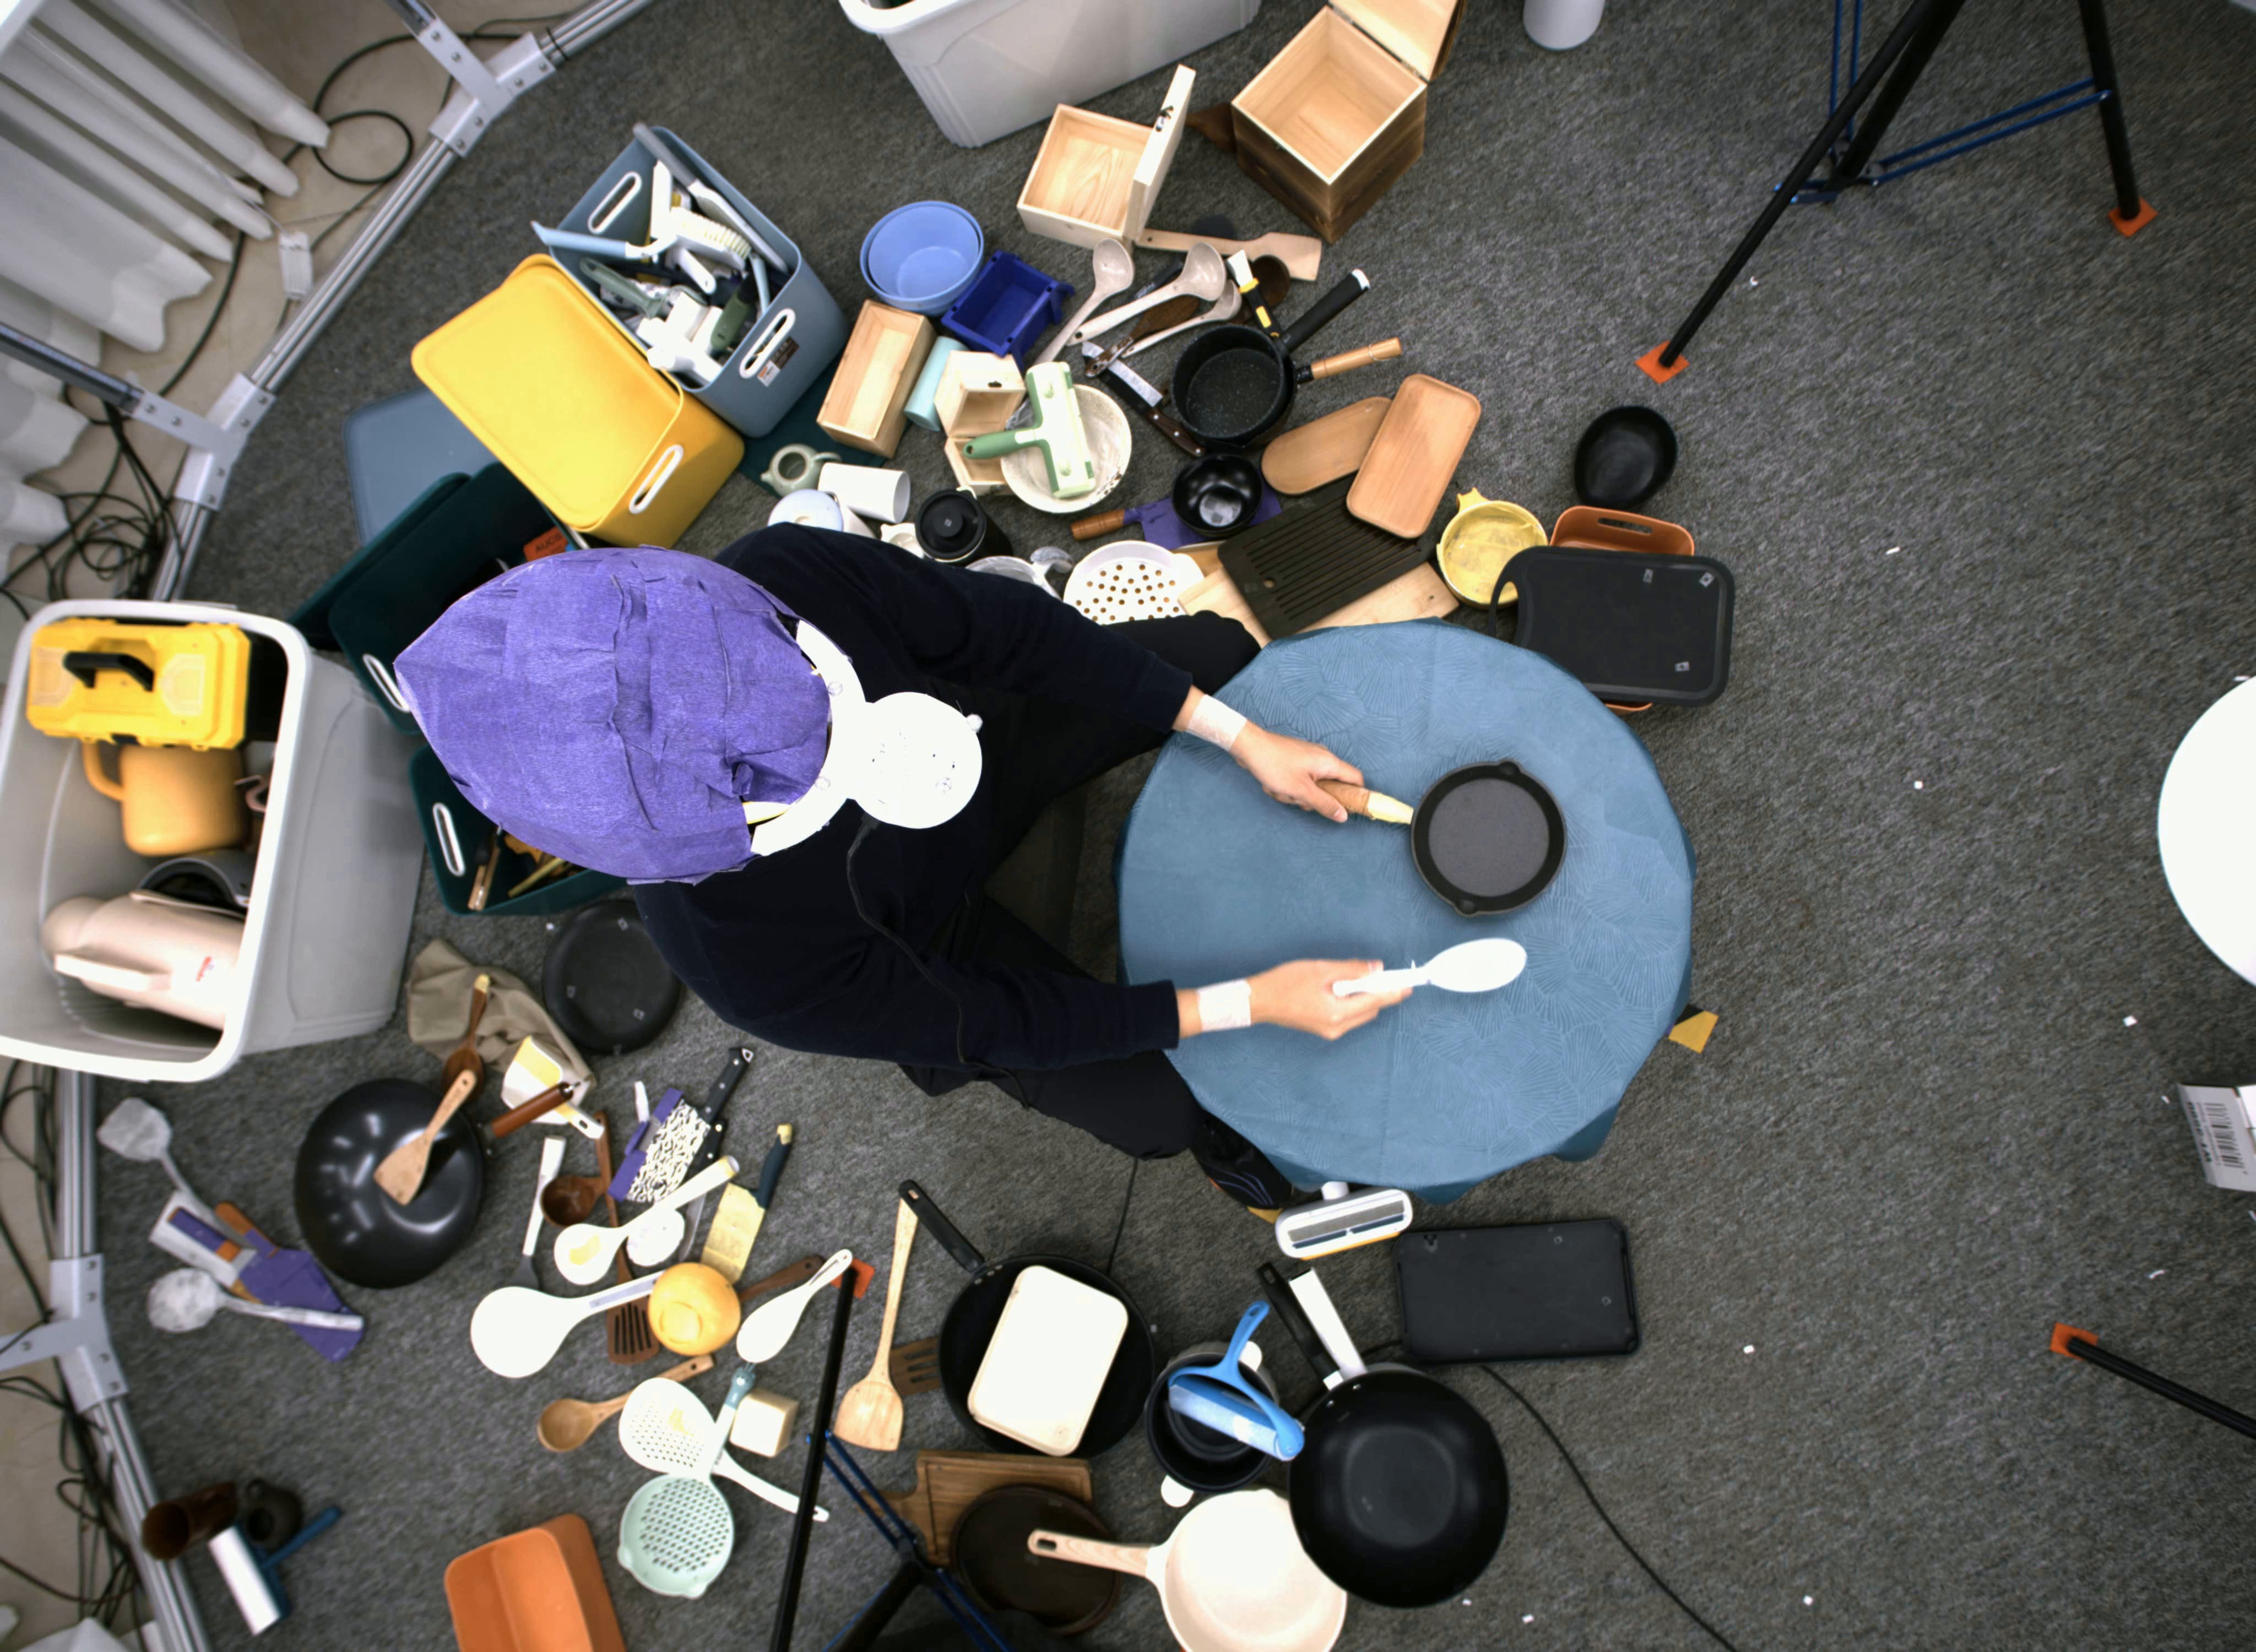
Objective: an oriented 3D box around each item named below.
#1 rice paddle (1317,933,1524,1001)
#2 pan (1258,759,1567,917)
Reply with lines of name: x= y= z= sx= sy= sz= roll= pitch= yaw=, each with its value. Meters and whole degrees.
rice paddle: x=0.291 y=0.140 z=1.374 sx=0.207 sy=0.070 sz=0.028 roll=-12 pitch=44 yaw=15
pan: x=0.292 y=-0.016 z=1.431 sx=0.324 sy=0.049 sz=0.170 roll=19 pitch=99 yaw=13
